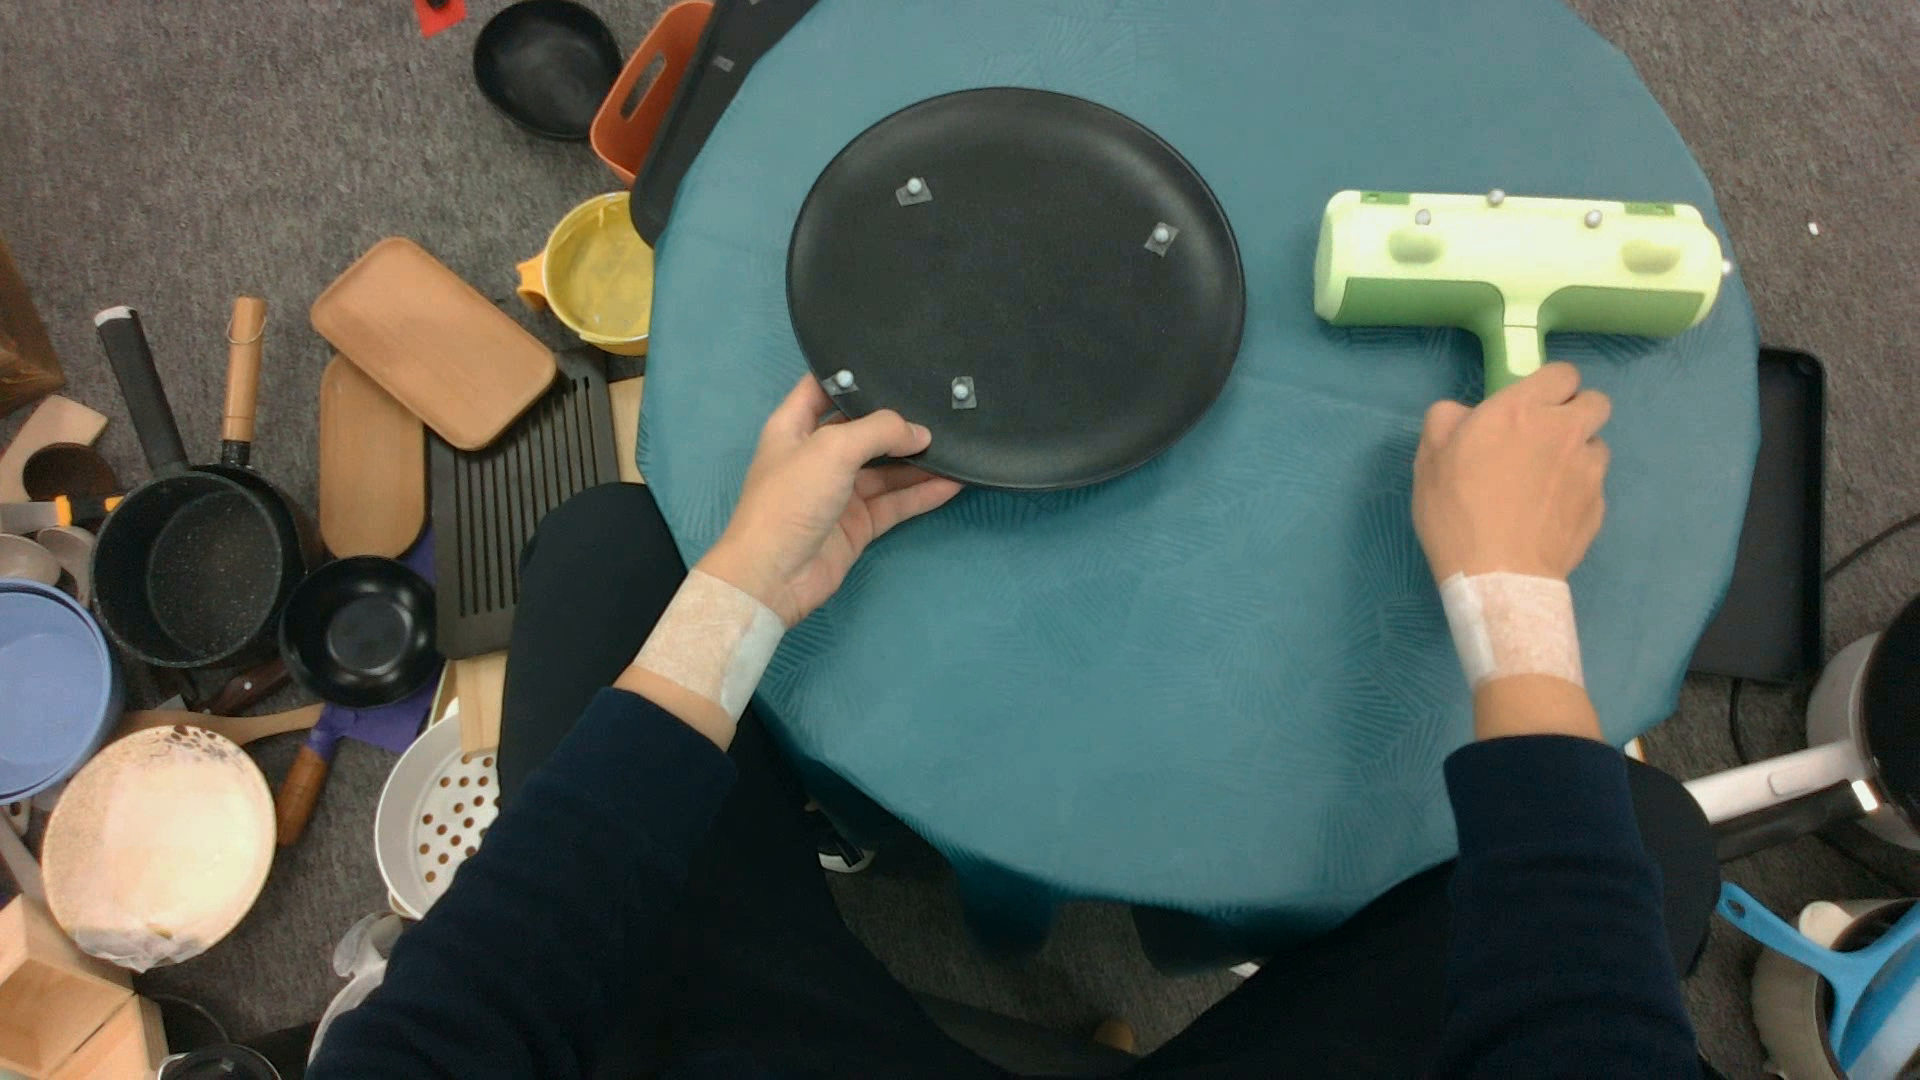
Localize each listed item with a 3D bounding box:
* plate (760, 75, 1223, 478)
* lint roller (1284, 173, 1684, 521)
[{"bbox_3d":[0.017,-0.141,0.728,0.244,0.023,0.245,2,68,-5],"label":"plate"},{"bbox_3d":[0.274,-0.106,0.692,0.198,0.082,0.184,-3,64,1],"label":"lint roller"}]
